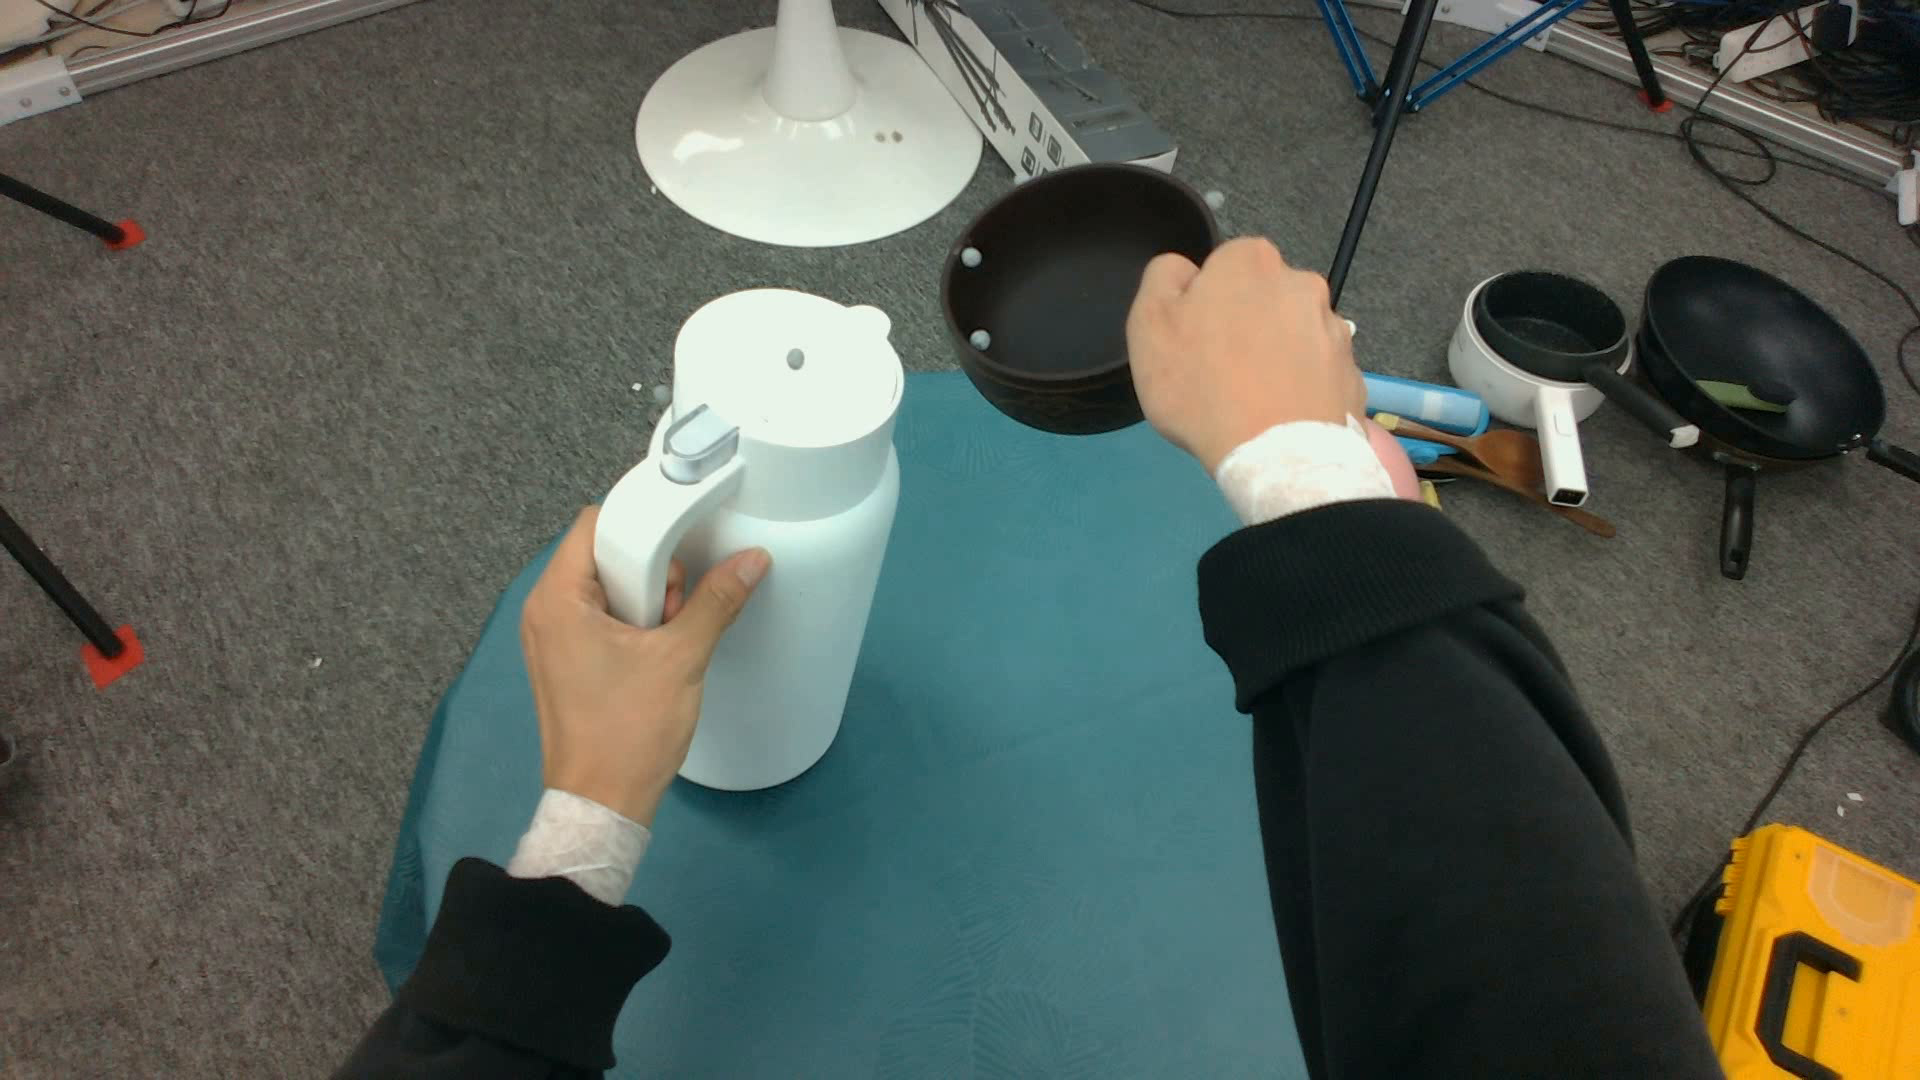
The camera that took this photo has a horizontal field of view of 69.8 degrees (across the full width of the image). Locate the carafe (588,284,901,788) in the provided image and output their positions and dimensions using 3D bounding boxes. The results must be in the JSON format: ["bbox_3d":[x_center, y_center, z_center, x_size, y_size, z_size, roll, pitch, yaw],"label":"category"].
[{"bbox_3d":[-0.110,0.017,0.673,0.124,0.267,0.174,34,48,11],"label":"carafe"}]

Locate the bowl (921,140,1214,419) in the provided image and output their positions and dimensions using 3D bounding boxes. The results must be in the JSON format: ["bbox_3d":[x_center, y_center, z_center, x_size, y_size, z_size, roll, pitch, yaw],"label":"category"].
[{"bbox_3d":[0.048,-0.101,0.575,0.118,0.069,0.118,-8,59,14],"label":"bowl"}]
